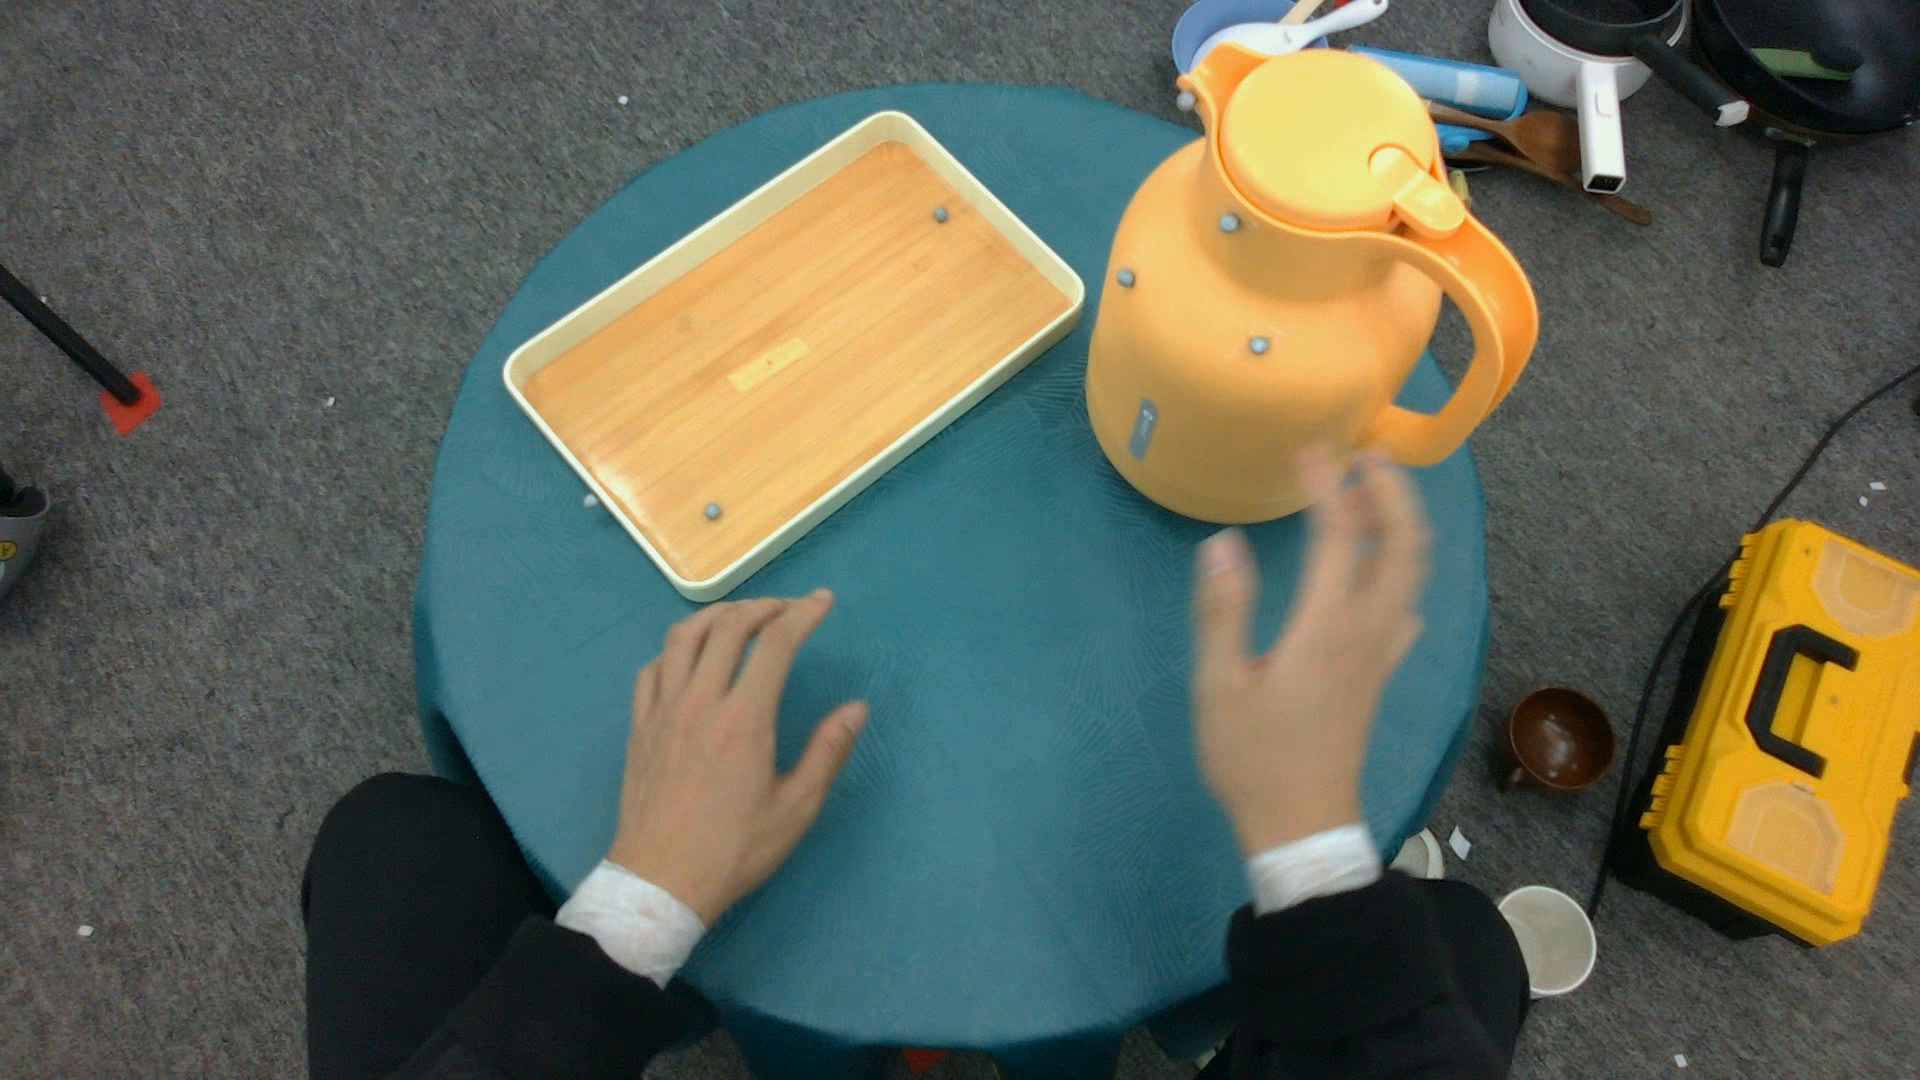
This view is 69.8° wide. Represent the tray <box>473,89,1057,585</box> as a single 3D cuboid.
[{"bbox_3d":[-0.109,-0.128,0.805,0.301,0.027,0.192,-39,73,-17],"label":"tray"}]

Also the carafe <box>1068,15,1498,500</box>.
[{"bbox_3d":[0.153,-0.122,0.684,0.164,0.259,0.202,-42,72,-14],"label":"carafe"}]
